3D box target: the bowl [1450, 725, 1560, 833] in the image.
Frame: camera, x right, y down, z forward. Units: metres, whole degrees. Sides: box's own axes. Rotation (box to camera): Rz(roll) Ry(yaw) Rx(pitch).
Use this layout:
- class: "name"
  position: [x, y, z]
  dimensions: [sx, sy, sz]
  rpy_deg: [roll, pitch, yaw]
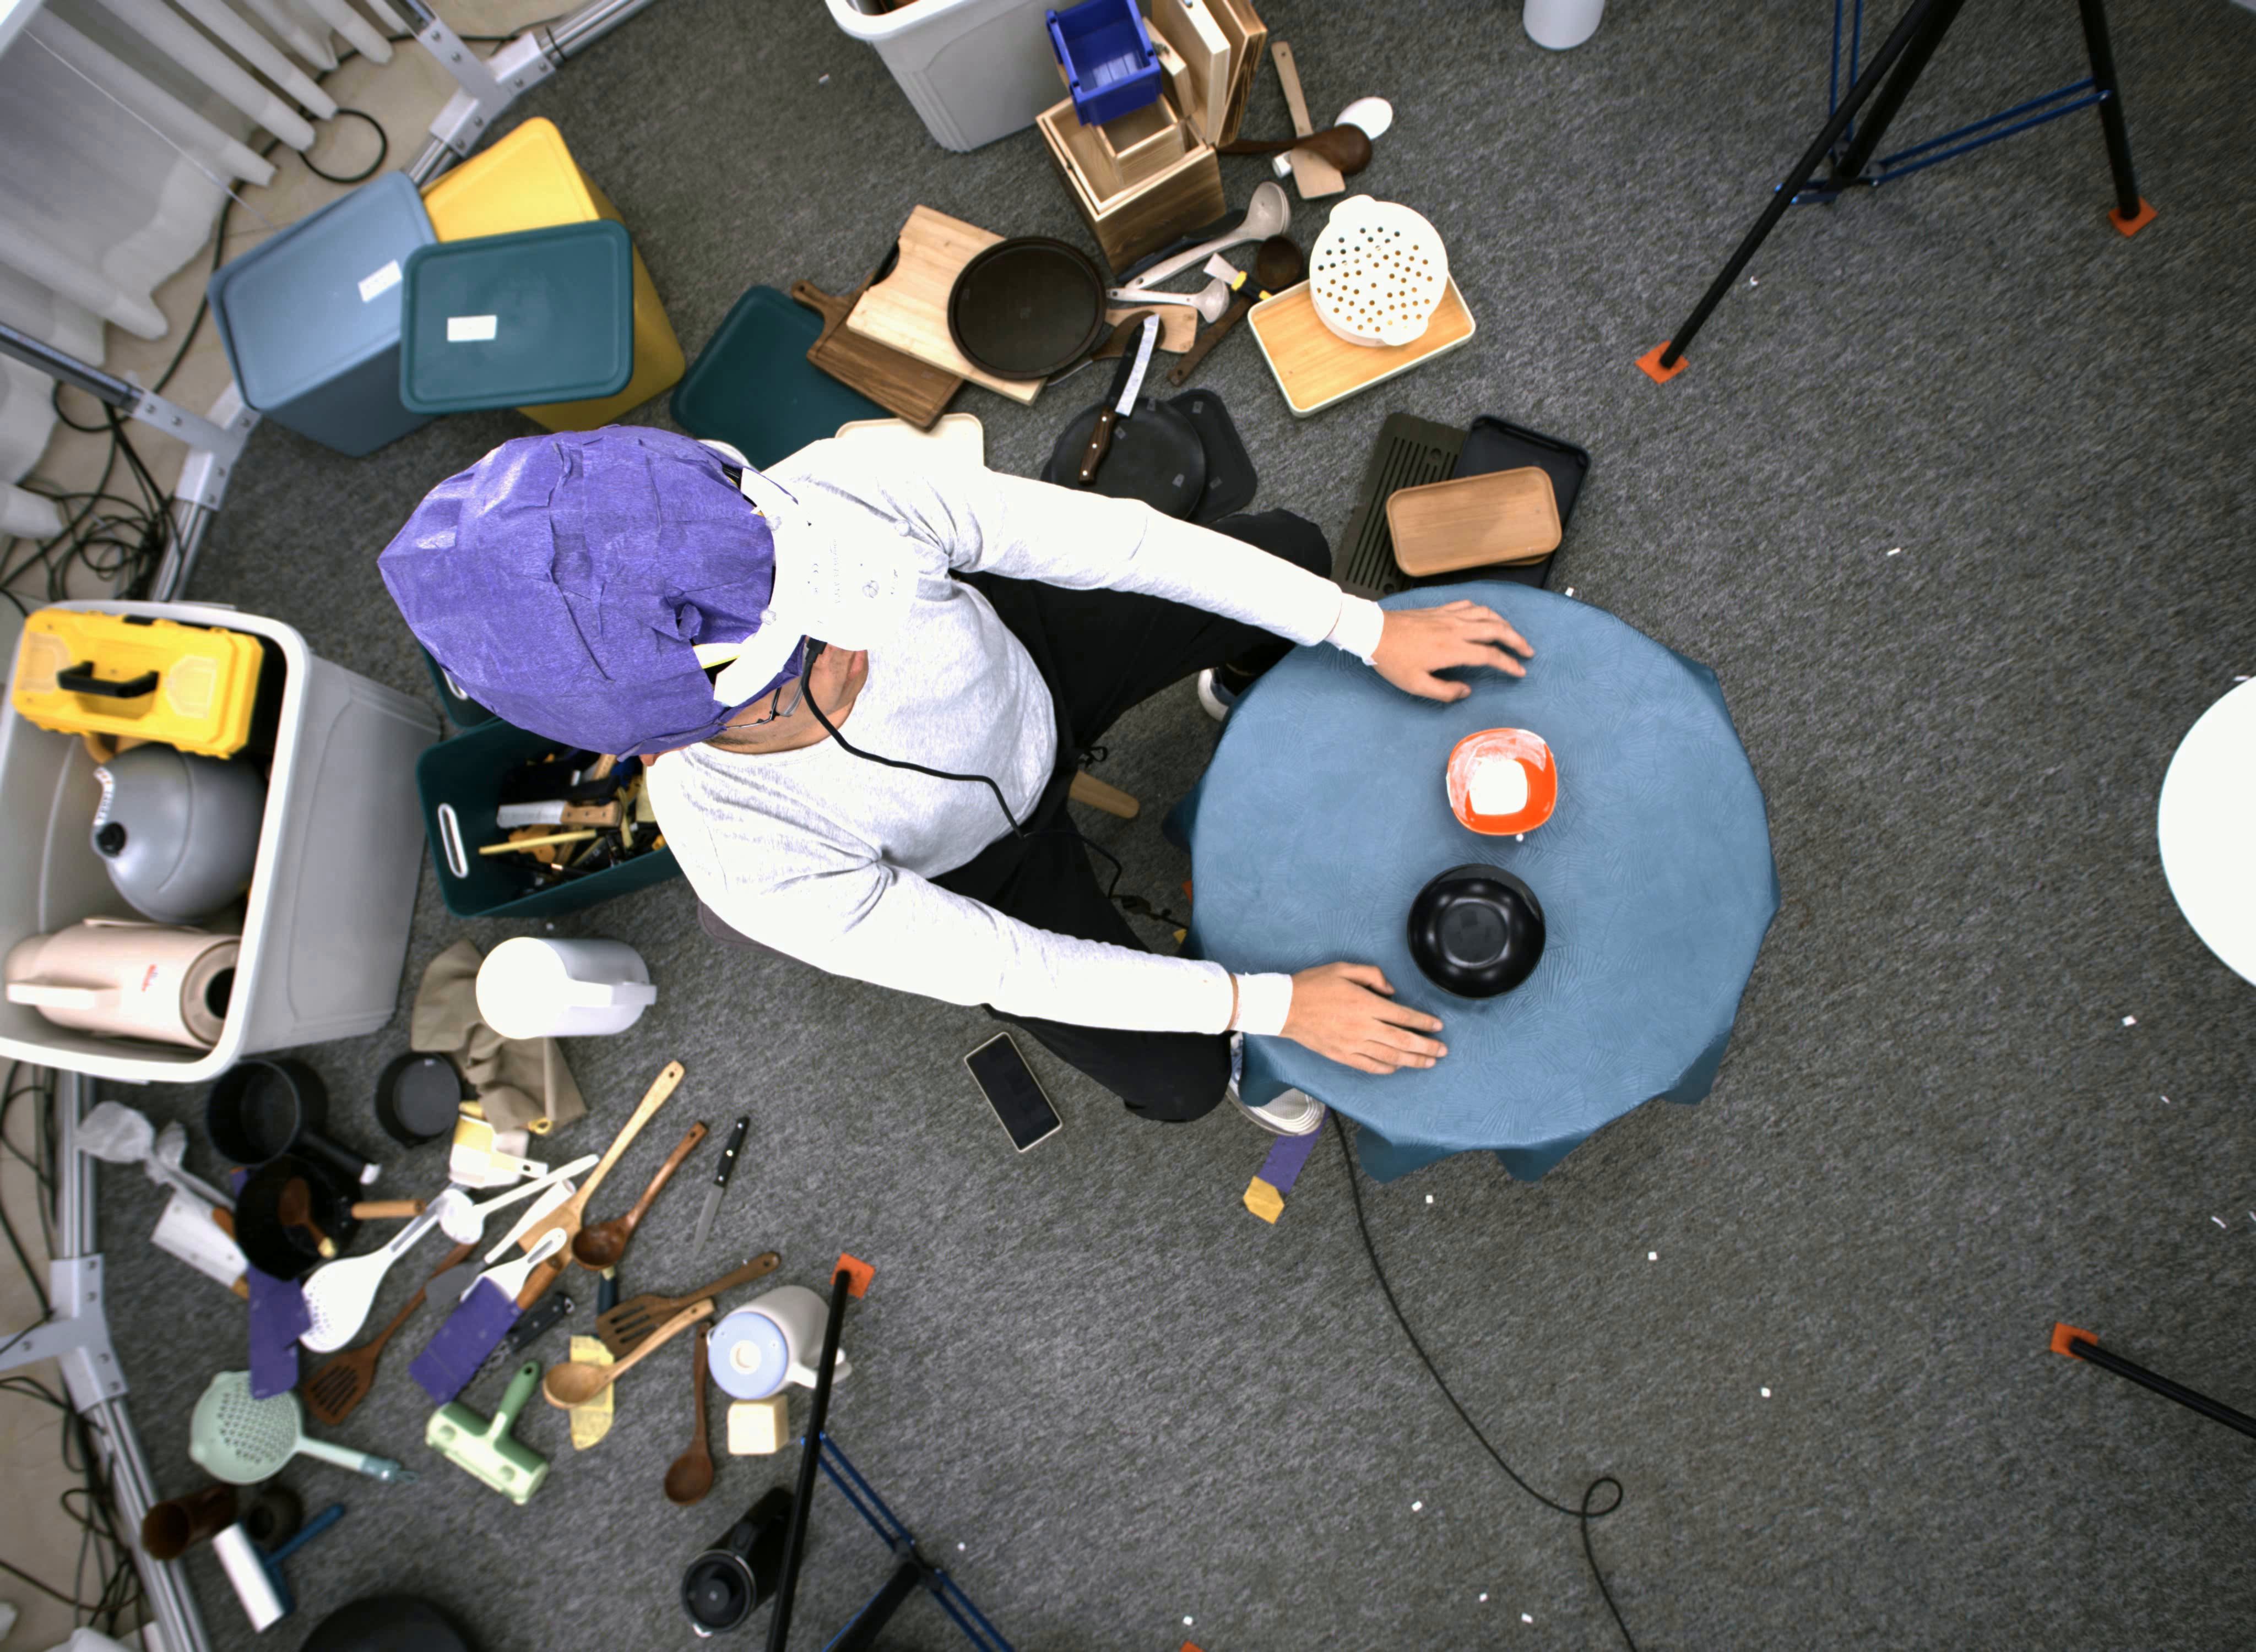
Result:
- class: "bowl"
  position: [0.385, -0.048, 1.416]
  dimensions: [0.119, 0.051, 0.118]
  rpy_deg: [0, 88, 6]

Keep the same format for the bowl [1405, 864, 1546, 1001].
- class: "bowl"
  position: [0.357, 0.108, 1.419]
  dimensions: [0.140, 0.050, 0.139]
  rpy_deg: [-1, 85, 13]
